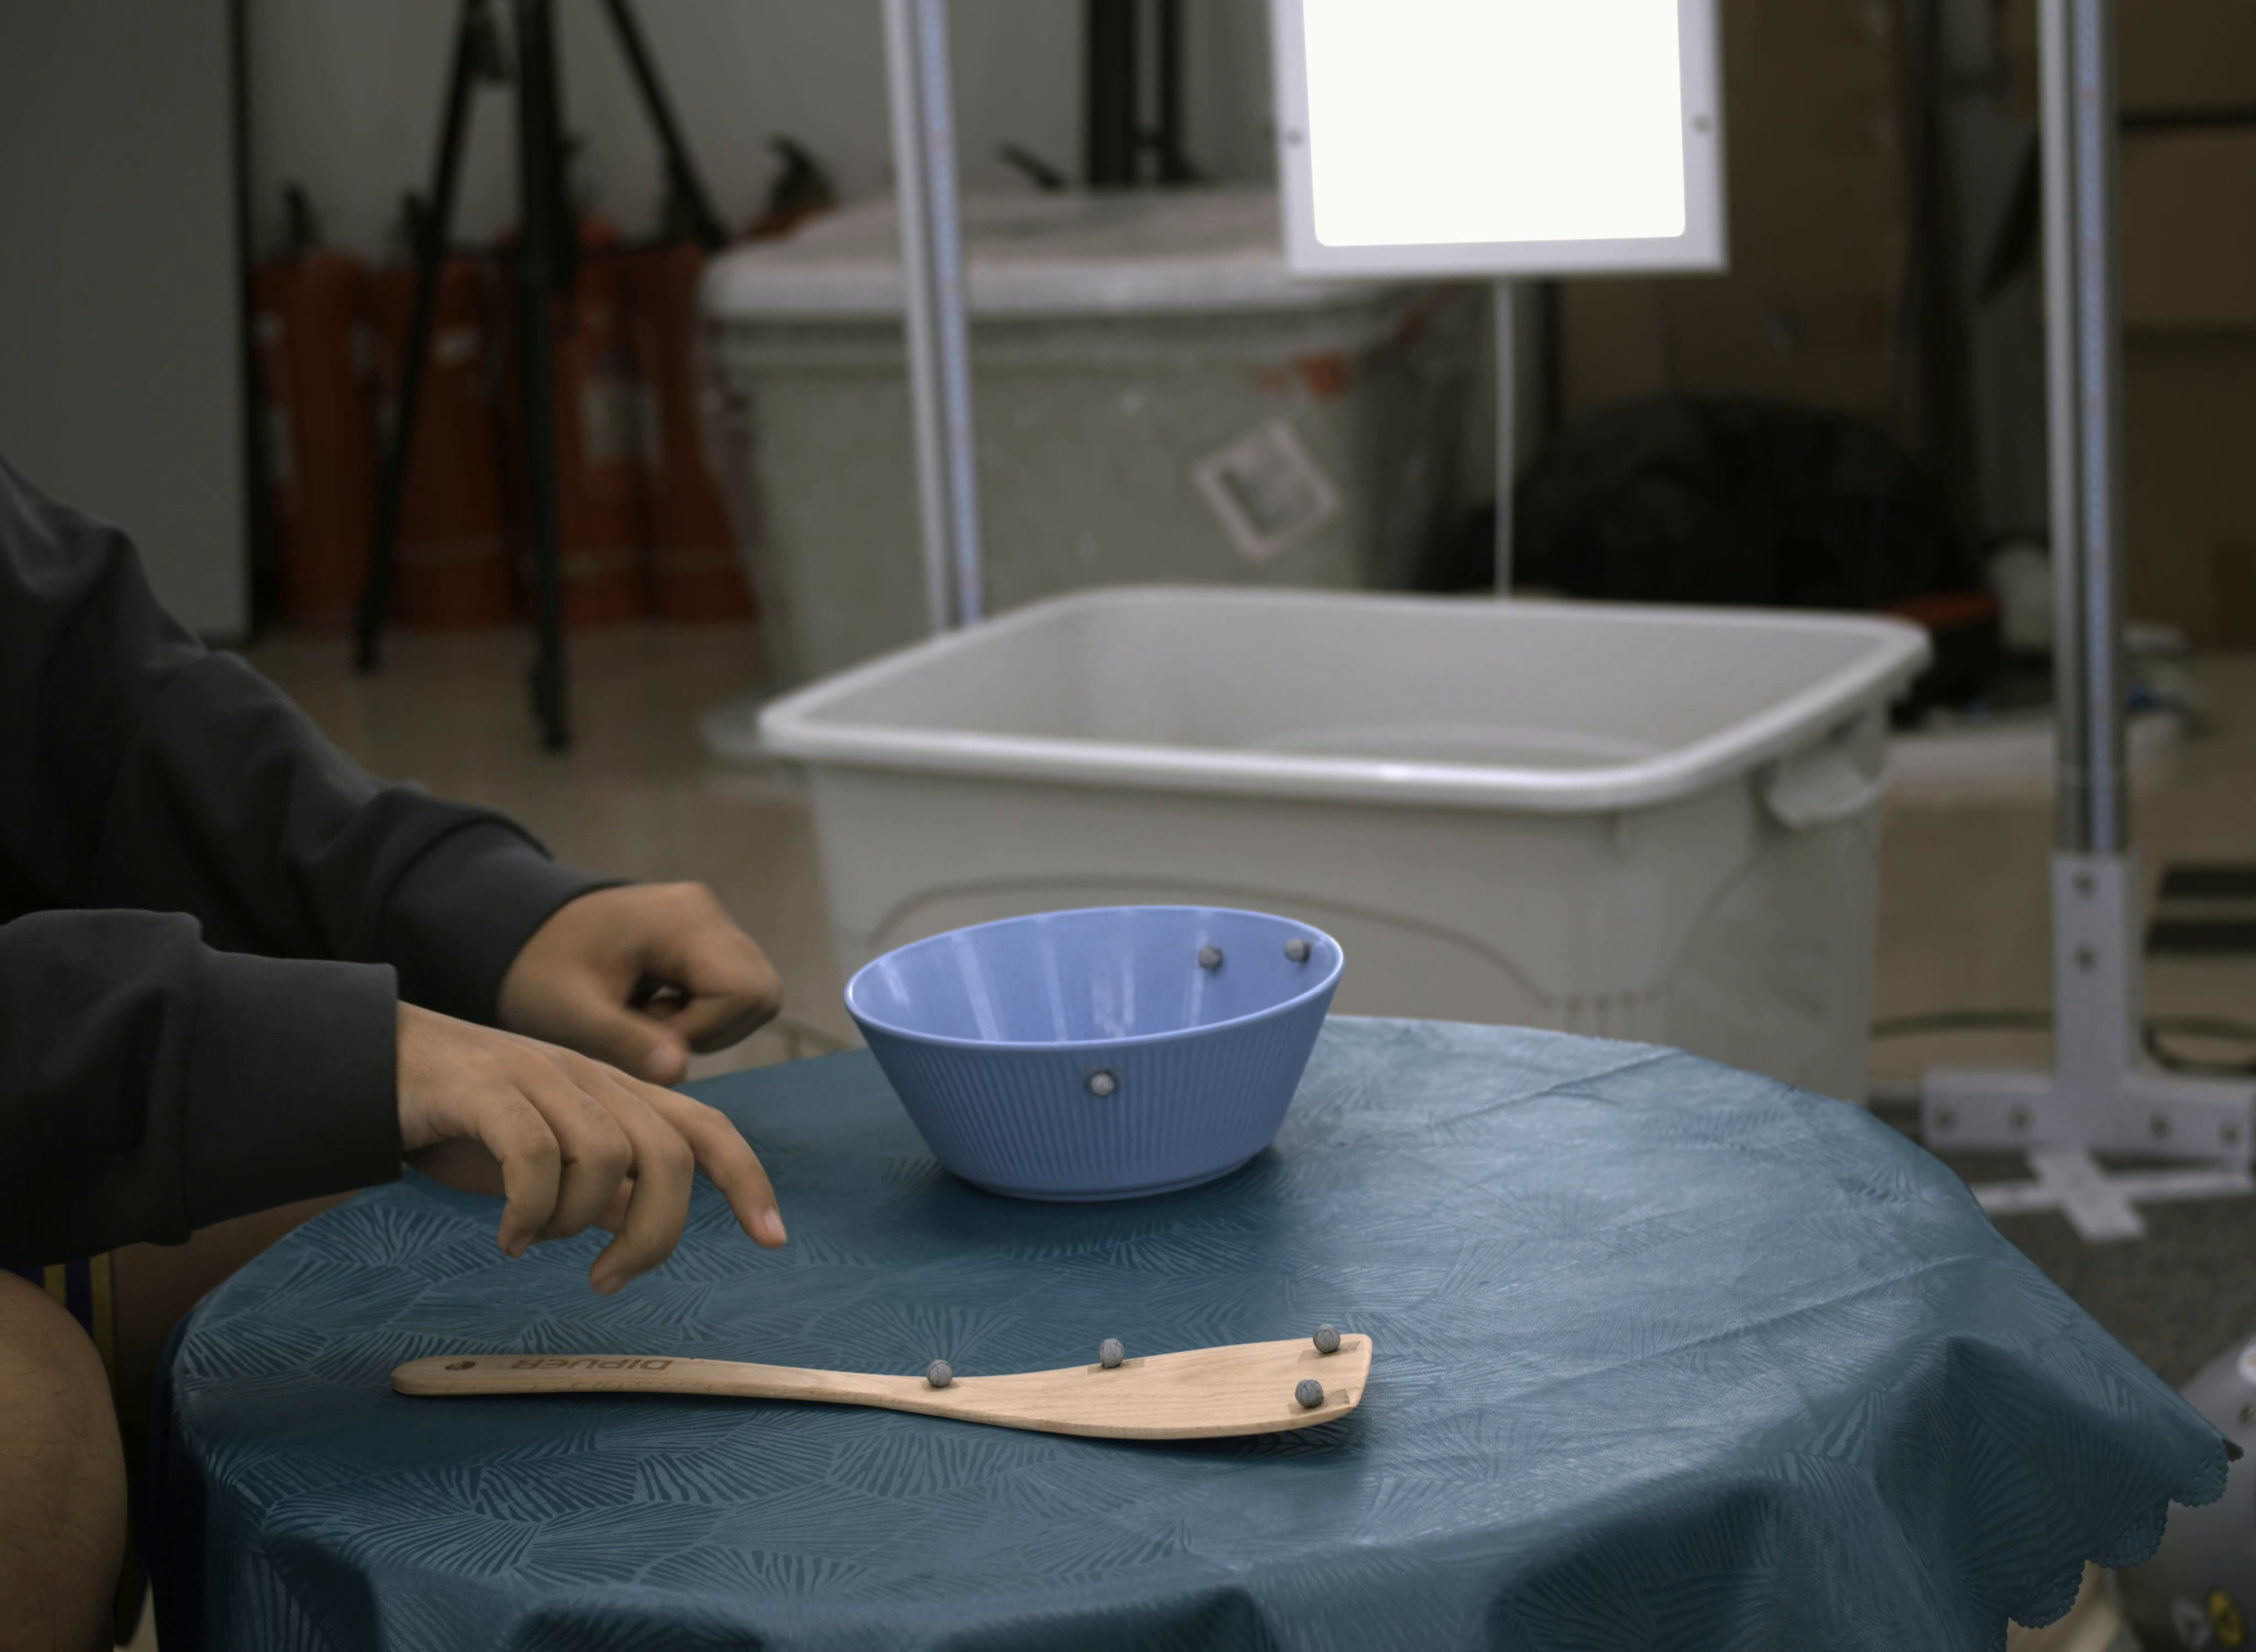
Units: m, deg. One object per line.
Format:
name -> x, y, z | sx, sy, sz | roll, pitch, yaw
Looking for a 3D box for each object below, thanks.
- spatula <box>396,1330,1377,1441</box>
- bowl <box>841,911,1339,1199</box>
spatula -> -0.077, 0.171, 1.711 | 0.332, 0.016, 0.078 | 0, 15, 20
bowl -> -0.011, 0.083, 1.933 | 0.175, 0.070, 0.176 | -5, 14, 0
